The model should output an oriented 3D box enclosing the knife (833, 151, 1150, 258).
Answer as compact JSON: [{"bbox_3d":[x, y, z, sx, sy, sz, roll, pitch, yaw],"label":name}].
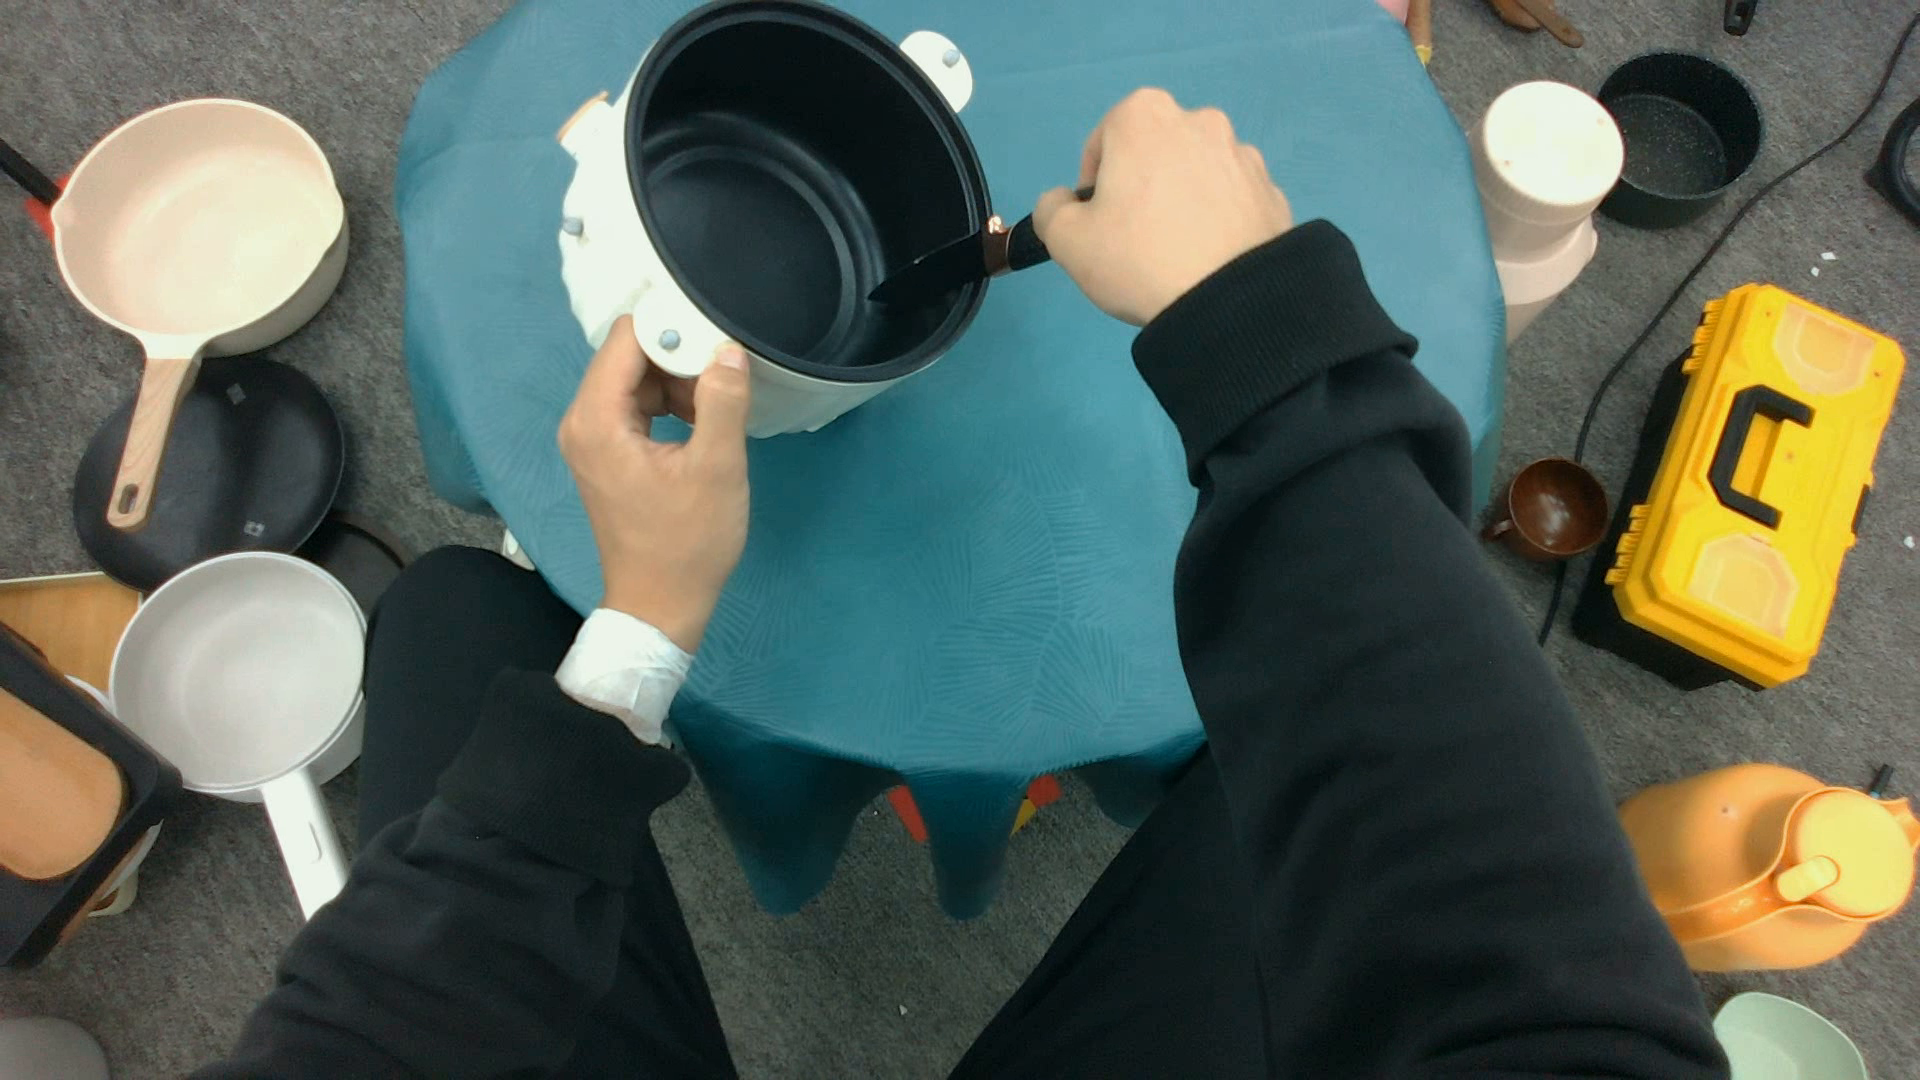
[{"bbox_3d":[0.003,-0.143,0.618,0.017,0.225,0.026,-24,105,-33],"label":"knife"}]

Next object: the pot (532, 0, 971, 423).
[{"bbox_3d":[-0.110,-0.152,0.662,0.190,0.142,0.241,46,56,-19],"label":"pot"}]
